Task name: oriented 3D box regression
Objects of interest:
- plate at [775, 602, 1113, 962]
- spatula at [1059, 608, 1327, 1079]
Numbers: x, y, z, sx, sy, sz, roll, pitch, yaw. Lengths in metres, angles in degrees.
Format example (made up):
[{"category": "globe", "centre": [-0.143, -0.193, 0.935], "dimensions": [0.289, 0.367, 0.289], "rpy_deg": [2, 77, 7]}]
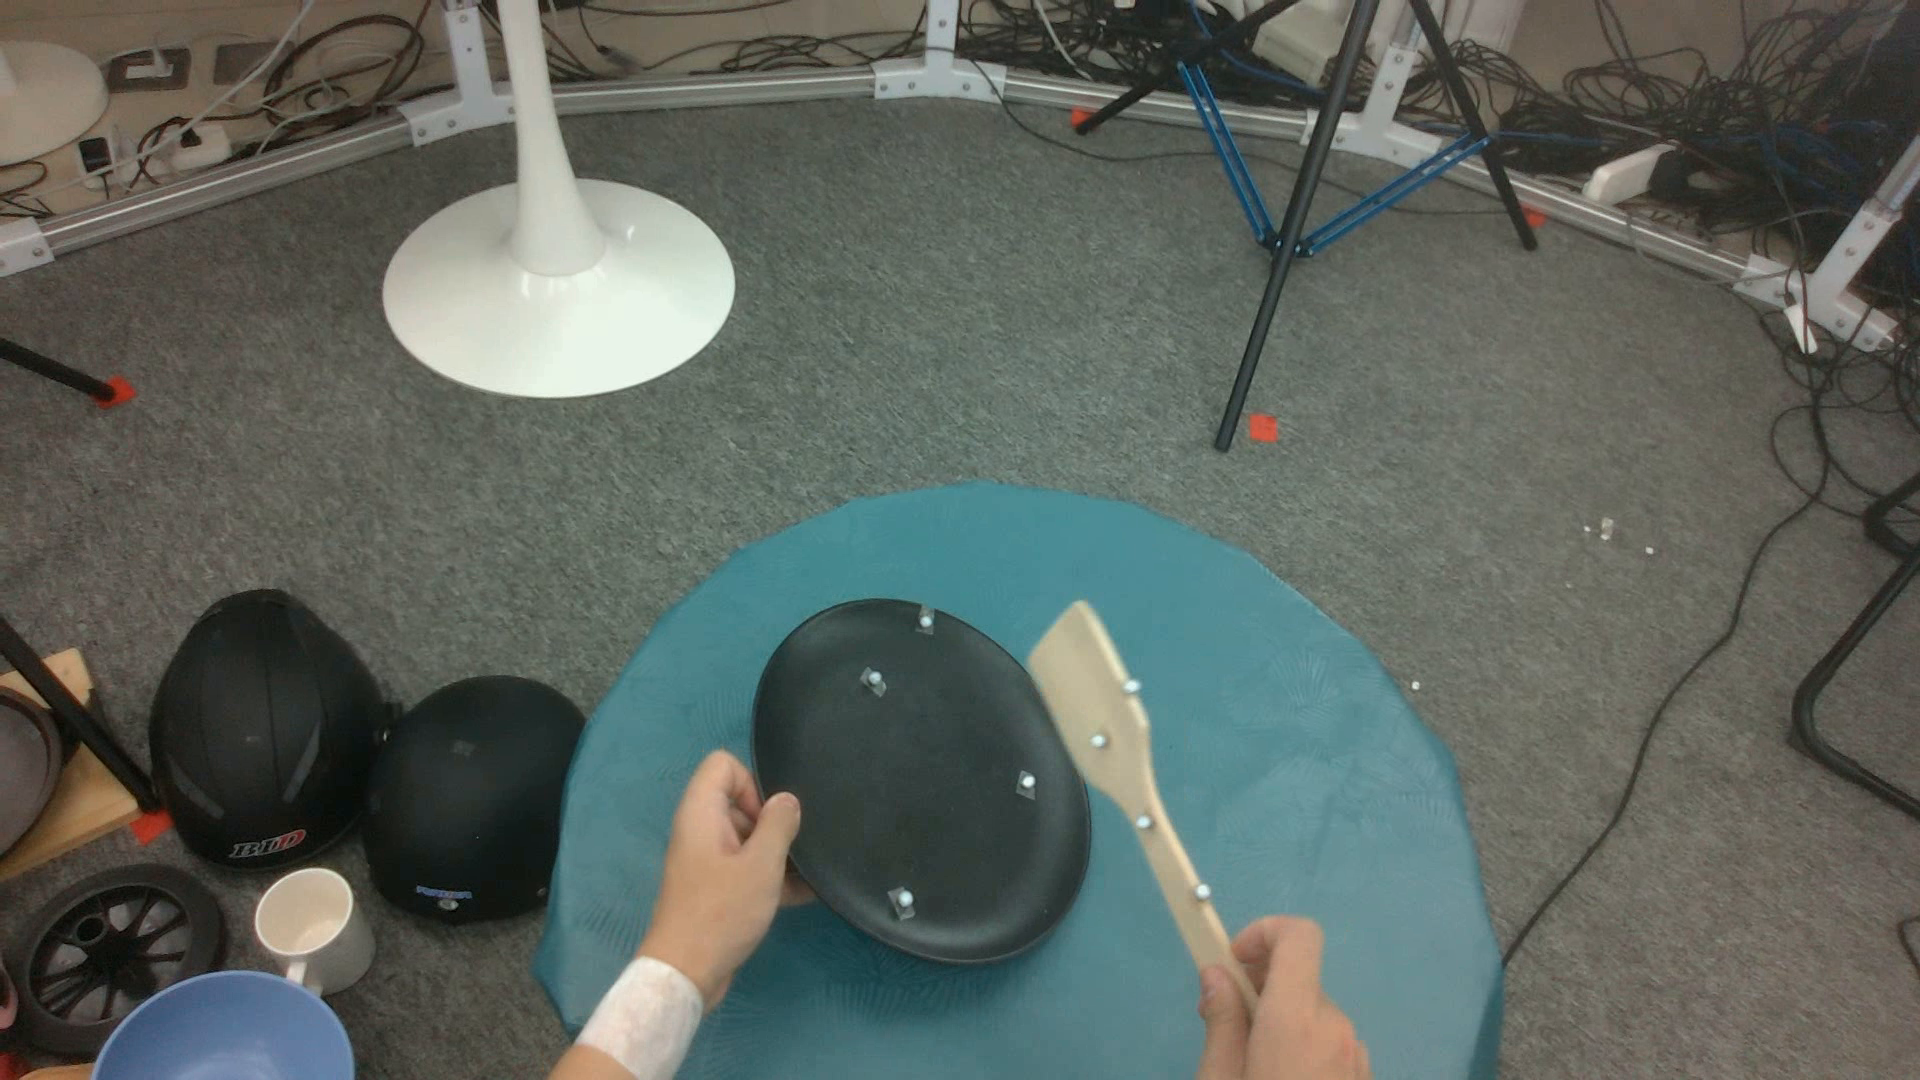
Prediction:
[{"category": "plate", "centre": [-0.008, 0.149, 0.869], "dimensions": [0.244, 0.023, 0.245], "rpy_deg": [21, 47, -23]}, {"category": "spatula", "centre": [0.129, 0.173, 0.744], "dimensions": [0.011, 0.072, 0.294], "rpy_deg": [-5, 57, -33]}]
